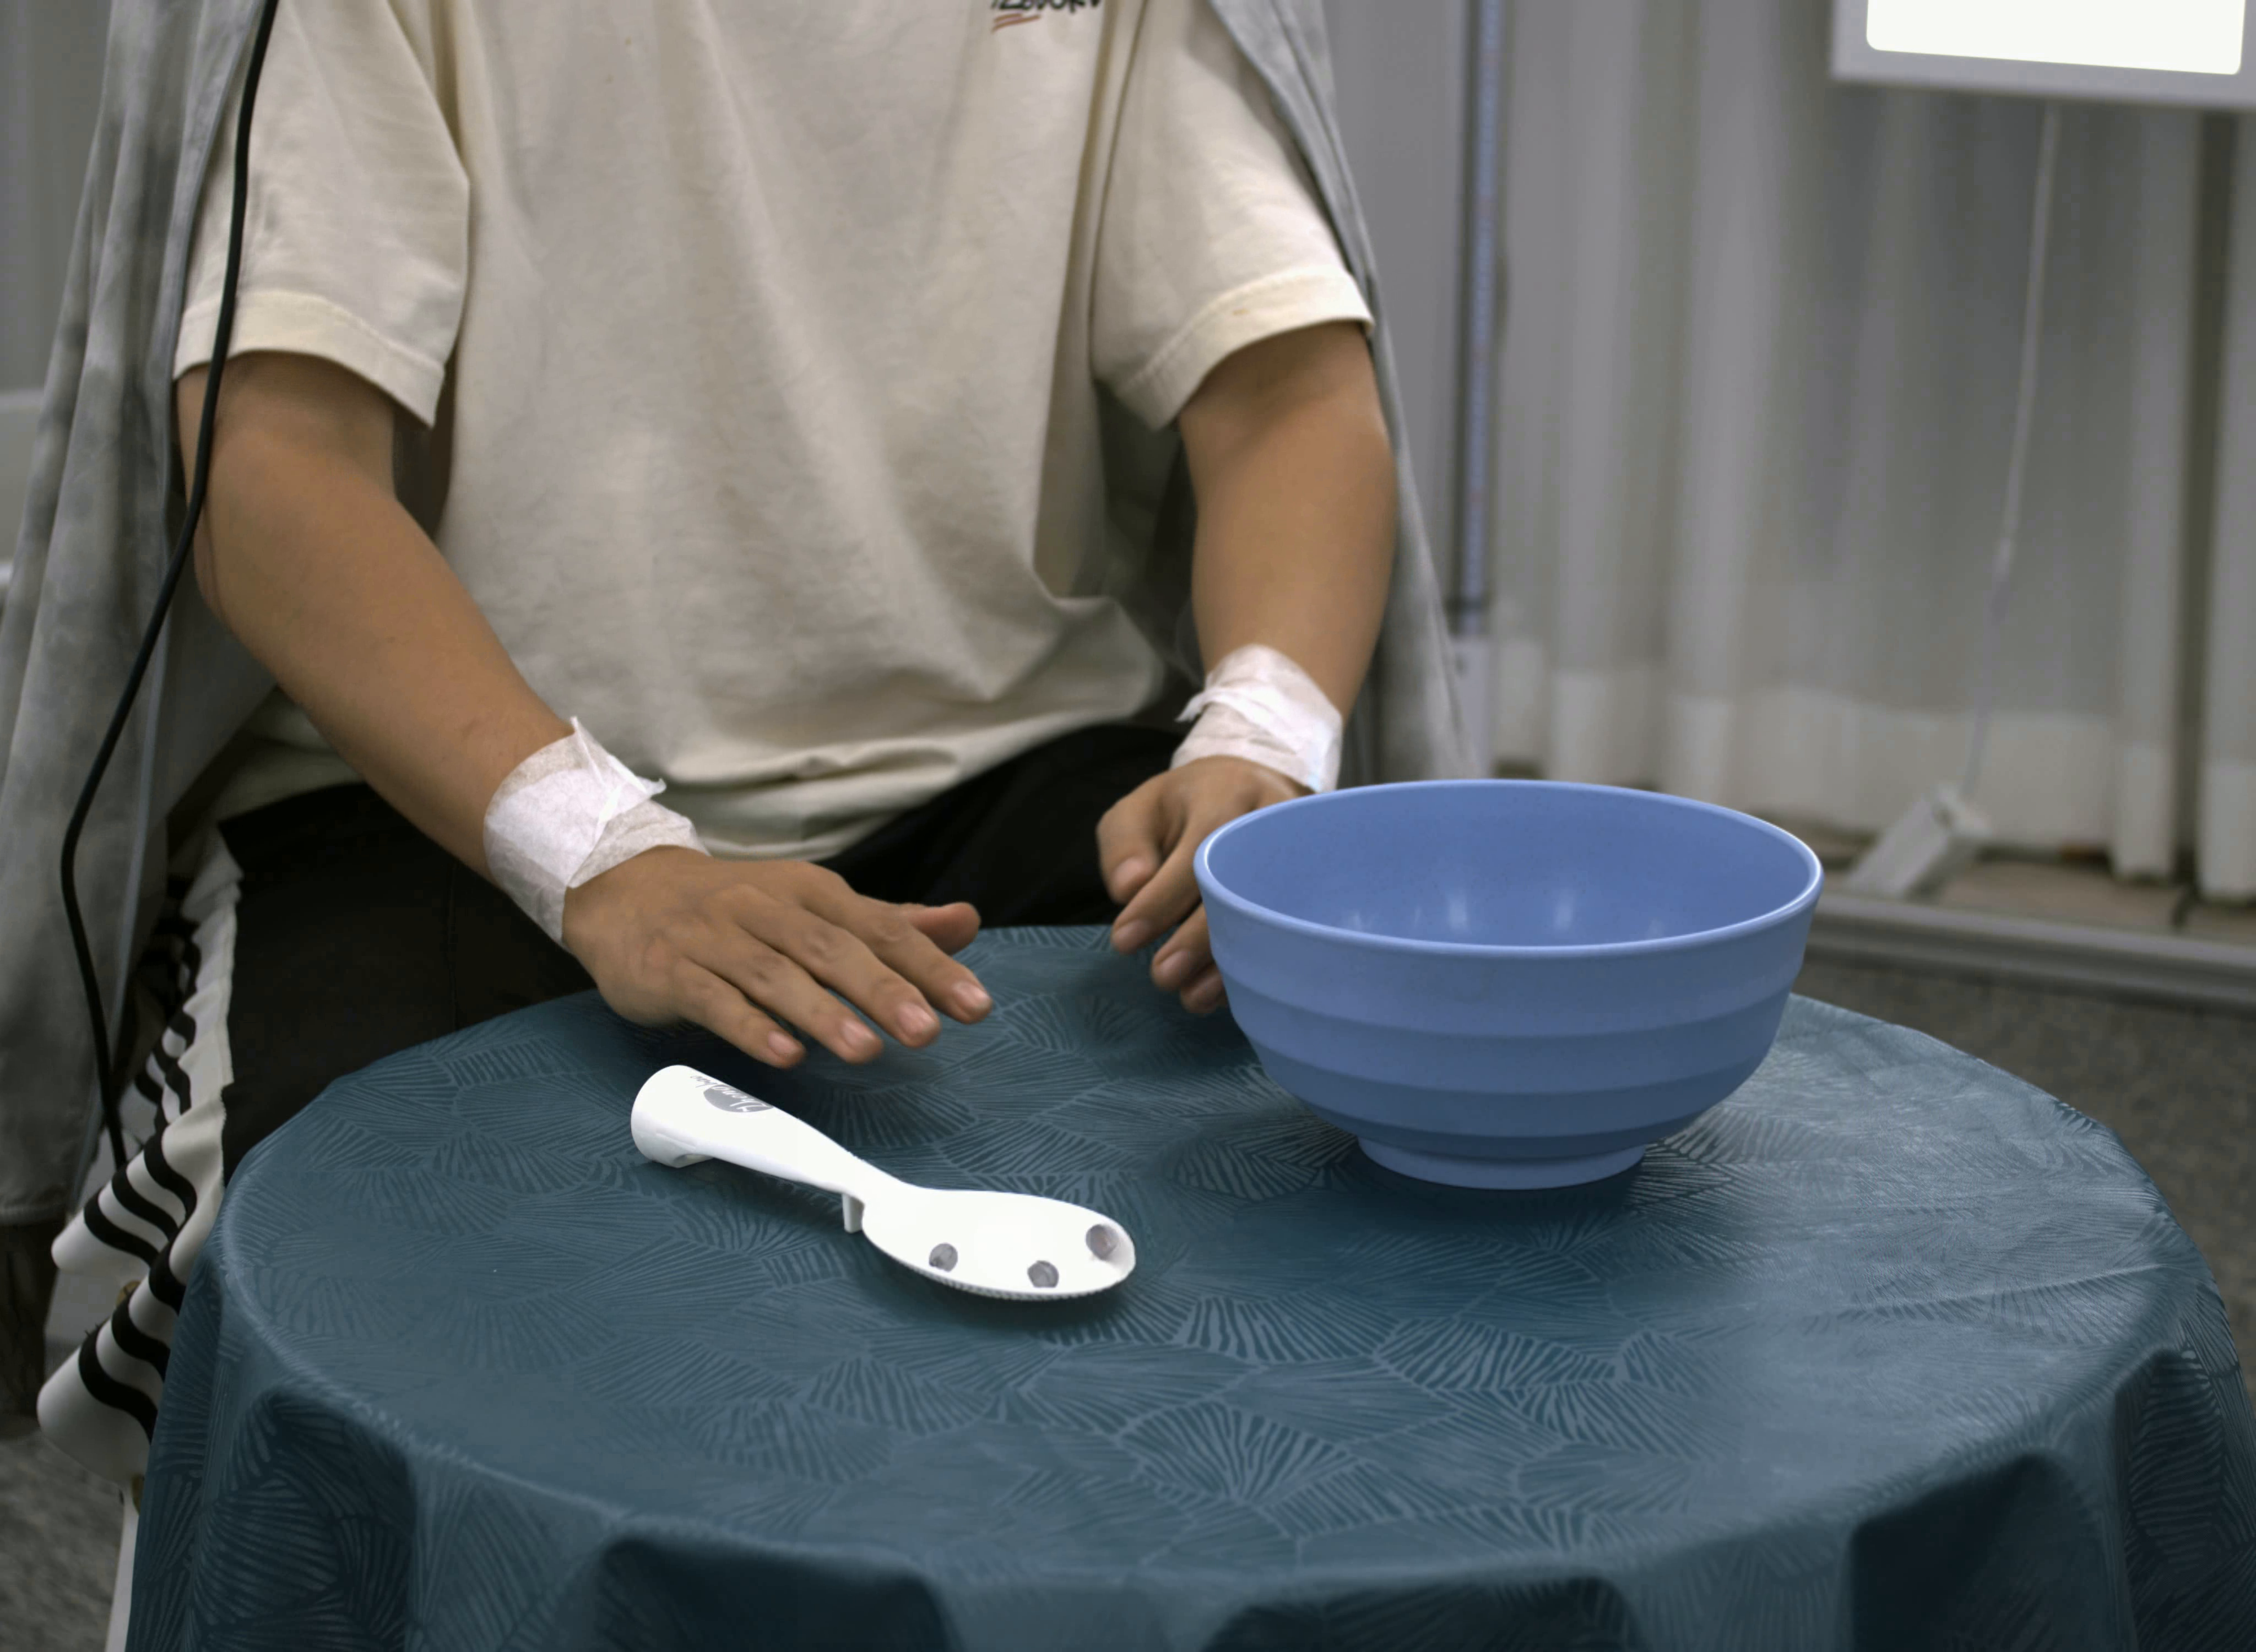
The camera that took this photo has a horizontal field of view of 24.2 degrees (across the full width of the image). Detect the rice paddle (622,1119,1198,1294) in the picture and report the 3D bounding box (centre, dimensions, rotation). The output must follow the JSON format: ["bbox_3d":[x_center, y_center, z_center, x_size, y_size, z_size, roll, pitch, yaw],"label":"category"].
[{"bbox_3d":[-0.066,0.115,1.574,0.203,0.029,0.069,7,4,36],"label":"rice paddle"}]

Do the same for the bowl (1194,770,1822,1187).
[{"bbox_3d":[0.118,0.054,1.659,0.196,0.096,0.195,0,17,0],"label":"bowl"}]
